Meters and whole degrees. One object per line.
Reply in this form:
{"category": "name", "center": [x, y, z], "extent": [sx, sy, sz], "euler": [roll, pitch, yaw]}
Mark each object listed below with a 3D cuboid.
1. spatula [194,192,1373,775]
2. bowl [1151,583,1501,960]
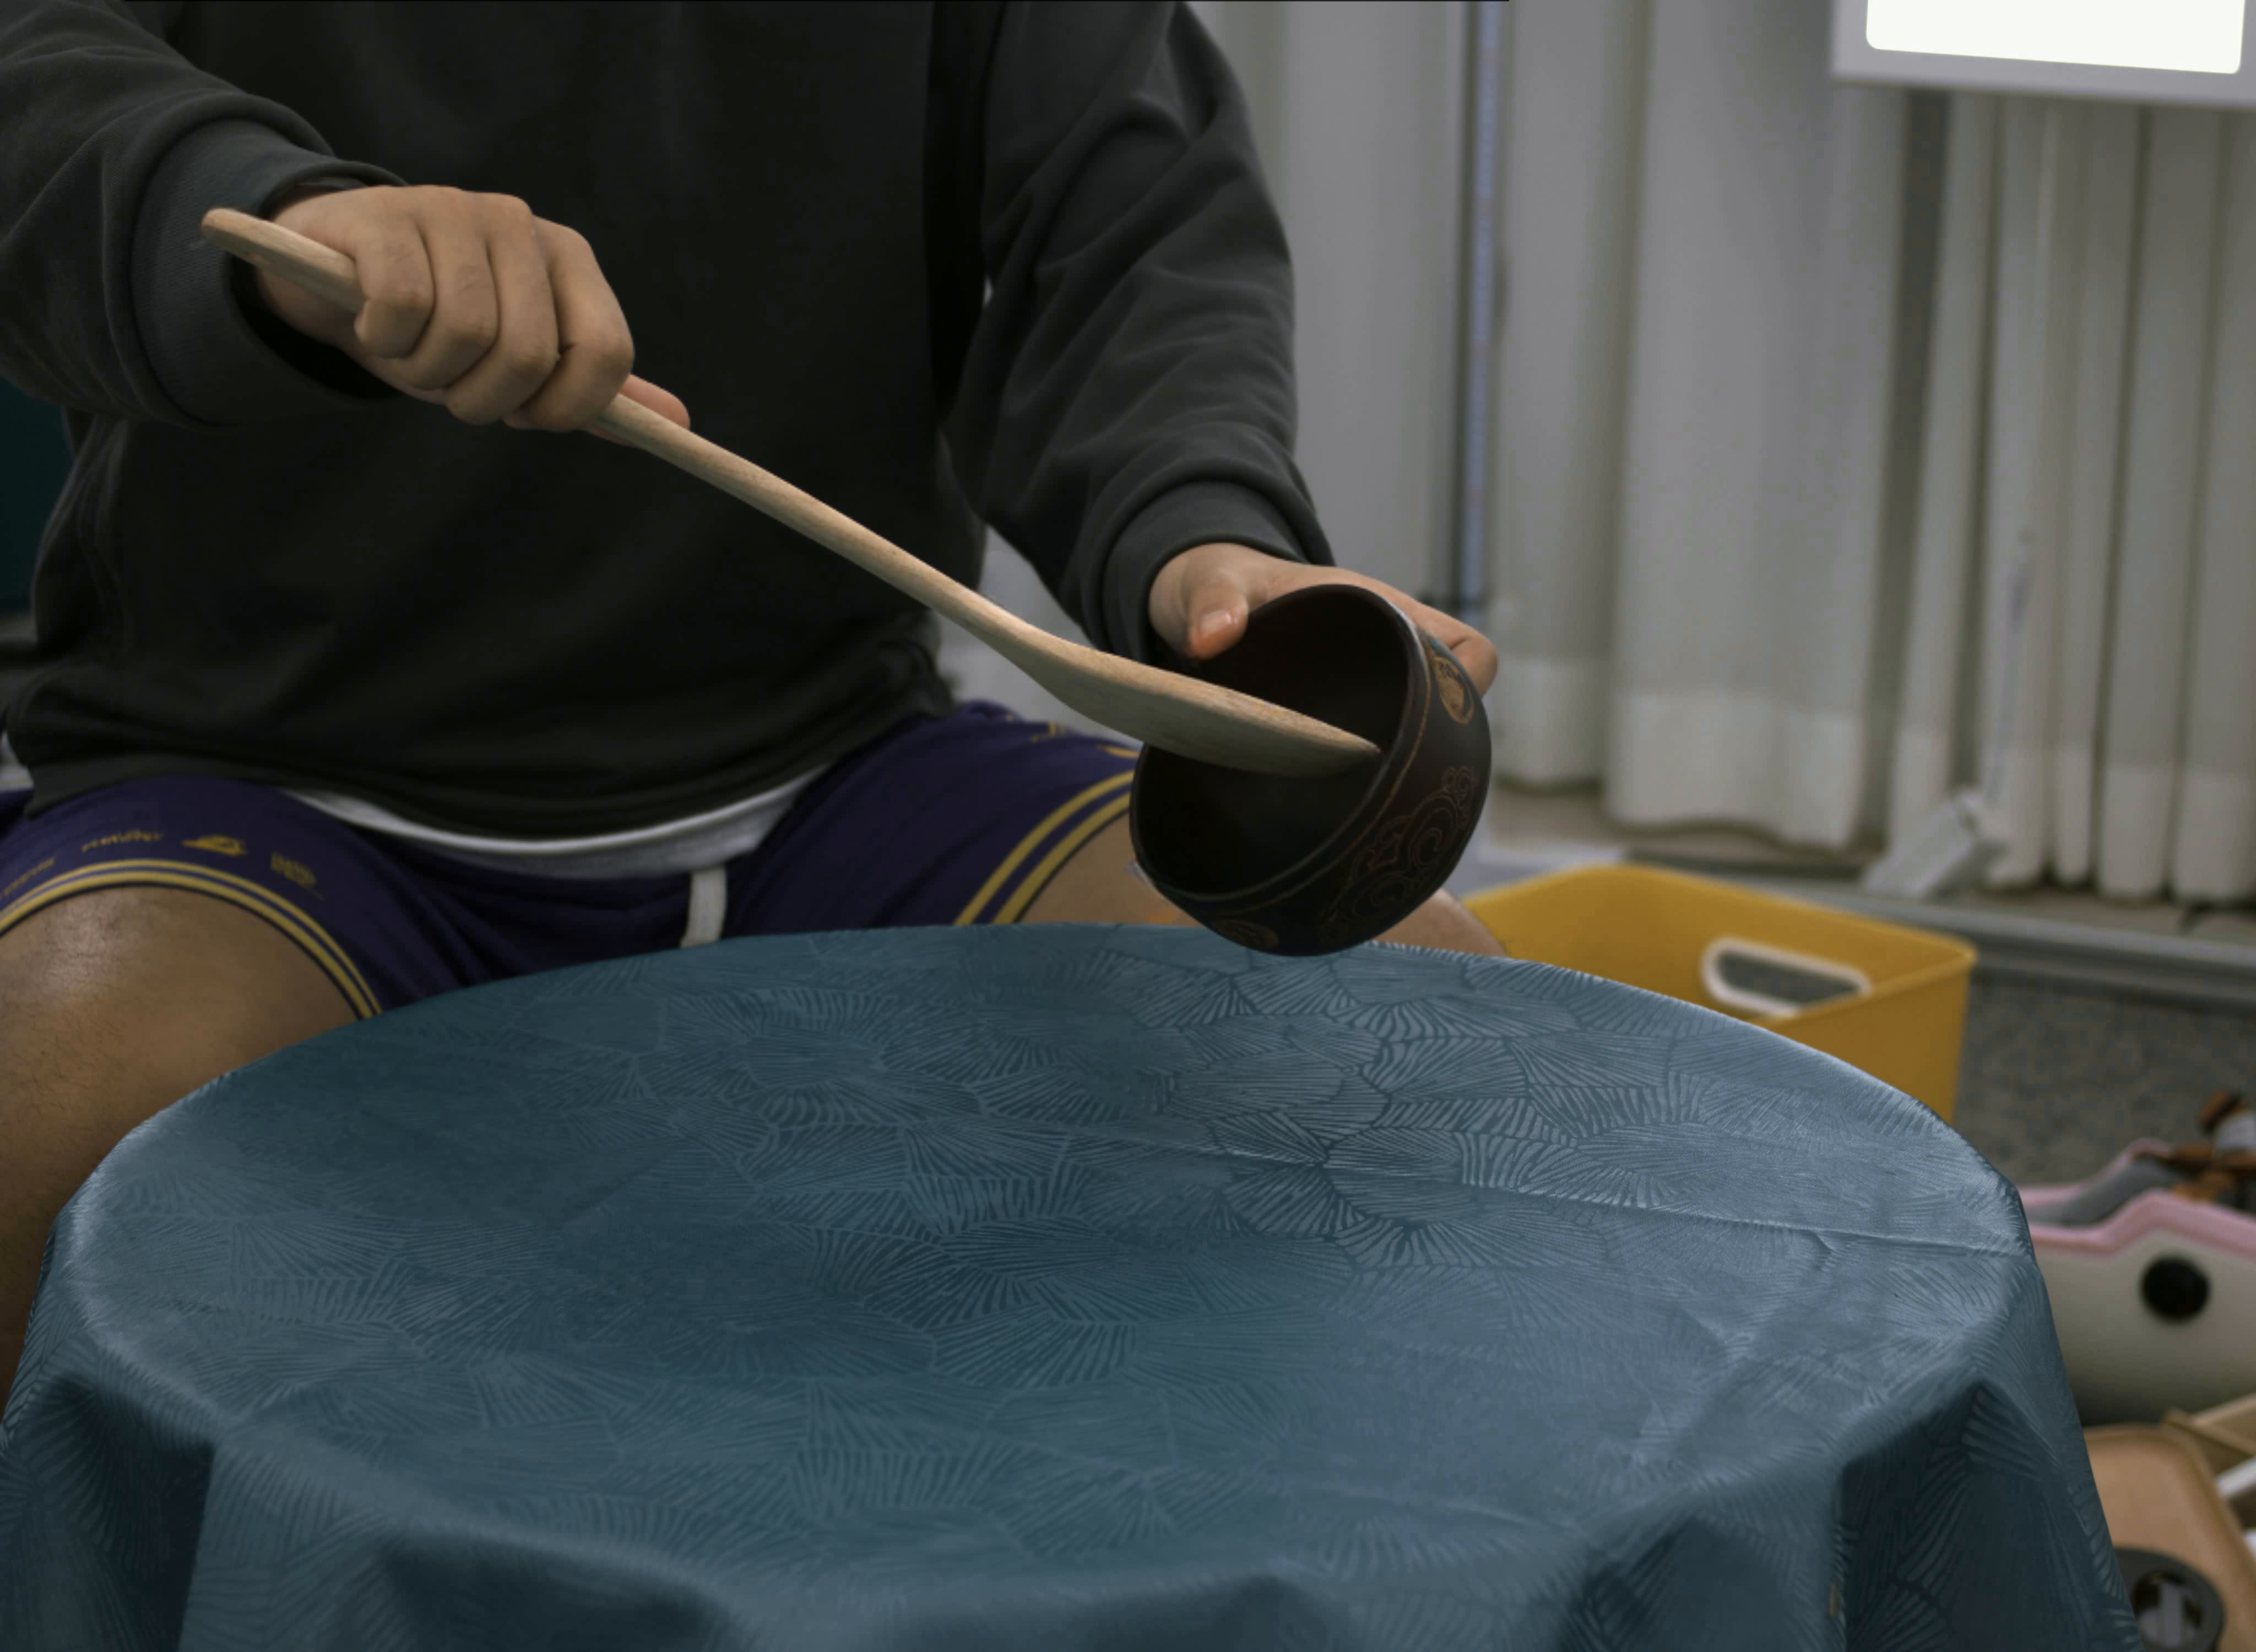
{"category": "spatula", "center": [-0.099, -0.097, 1.566], "extent": [0.393, 0.018, 0.095], "euler": [28, -14, -20]}
{"category": "bowl", "center": [0.070, -0.010, 1.652], "extent": [0.070, 0.118, 0.116], "euler": [34, -1, -29]}
